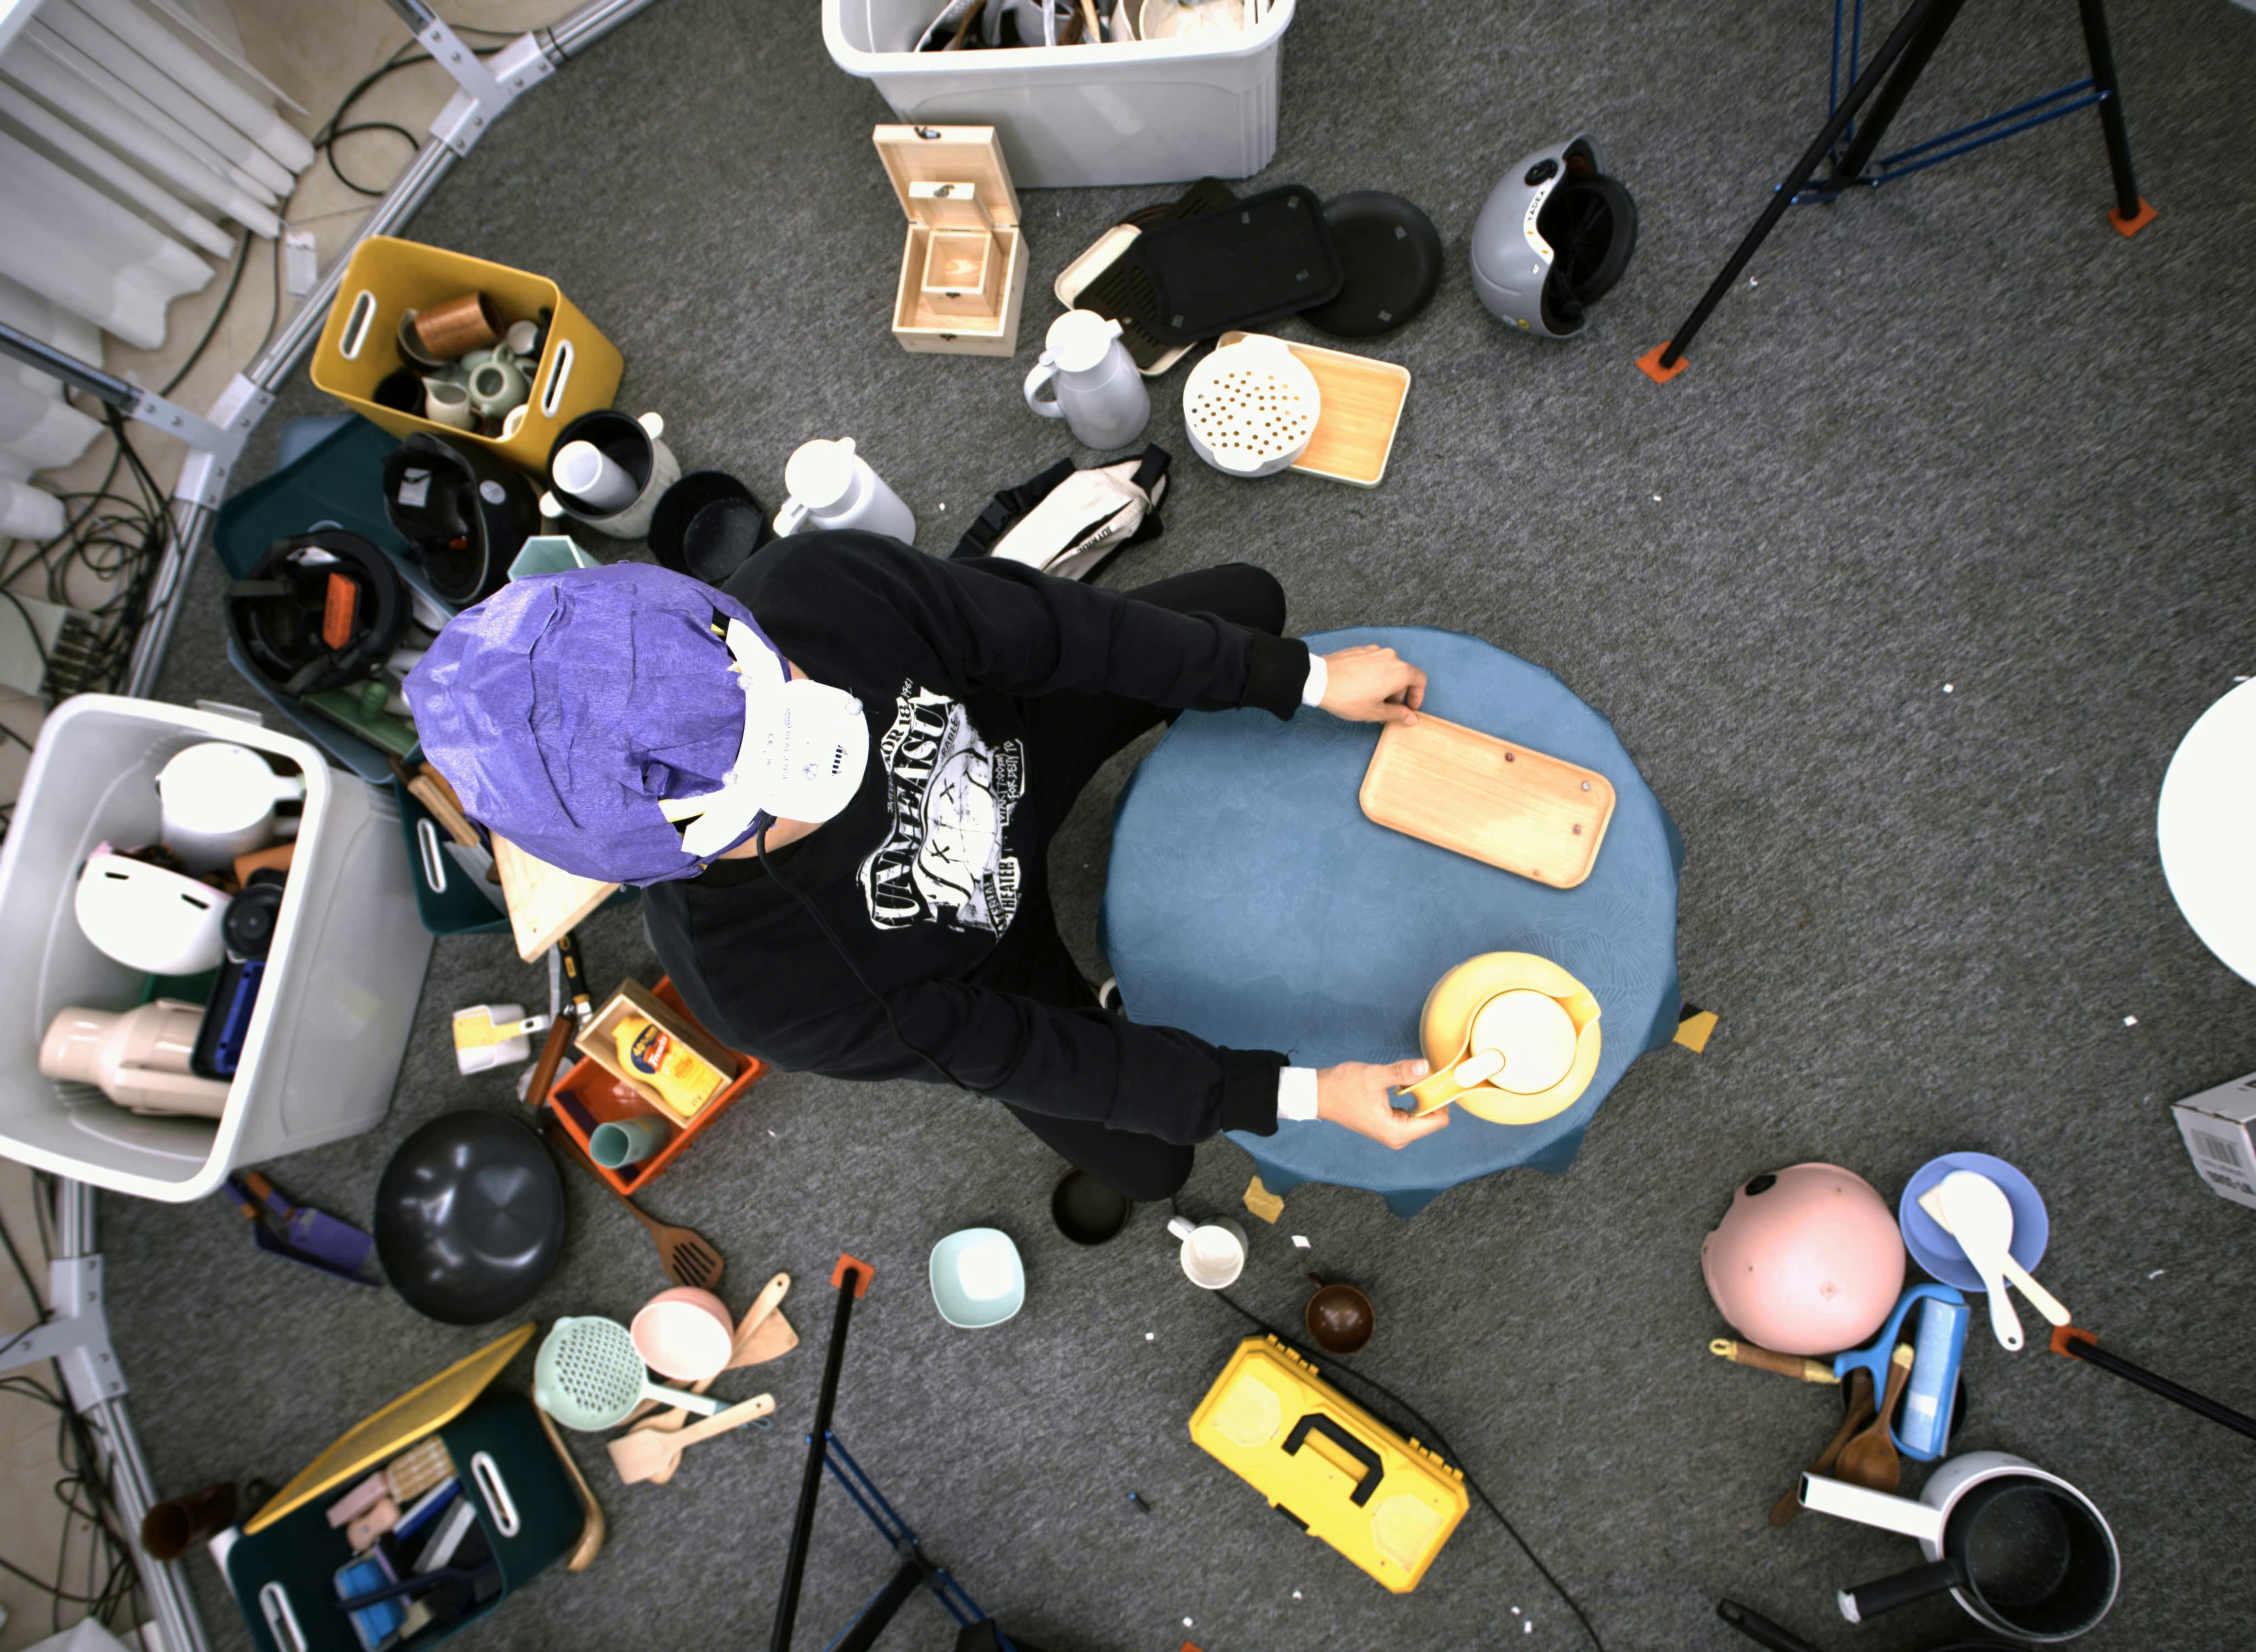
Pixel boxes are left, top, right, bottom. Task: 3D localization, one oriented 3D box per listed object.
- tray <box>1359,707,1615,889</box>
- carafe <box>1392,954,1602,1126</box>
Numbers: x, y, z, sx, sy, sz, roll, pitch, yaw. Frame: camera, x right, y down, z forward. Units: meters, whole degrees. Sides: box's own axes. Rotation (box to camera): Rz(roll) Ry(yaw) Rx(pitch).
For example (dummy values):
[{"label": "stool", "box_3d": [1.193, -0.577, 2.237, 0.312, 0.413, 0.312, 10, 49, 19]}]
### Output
[{"label": "tray", "box_3d": [0.374, -0.032, 1.438, 0.250, 0.023, 0.130, 21, 89, 12]}, {"label": "carafe", "box_3d": [0.343, 0.208, 1.308, 0.203, 0.261, 0.162, -29, 79, 5]}]
